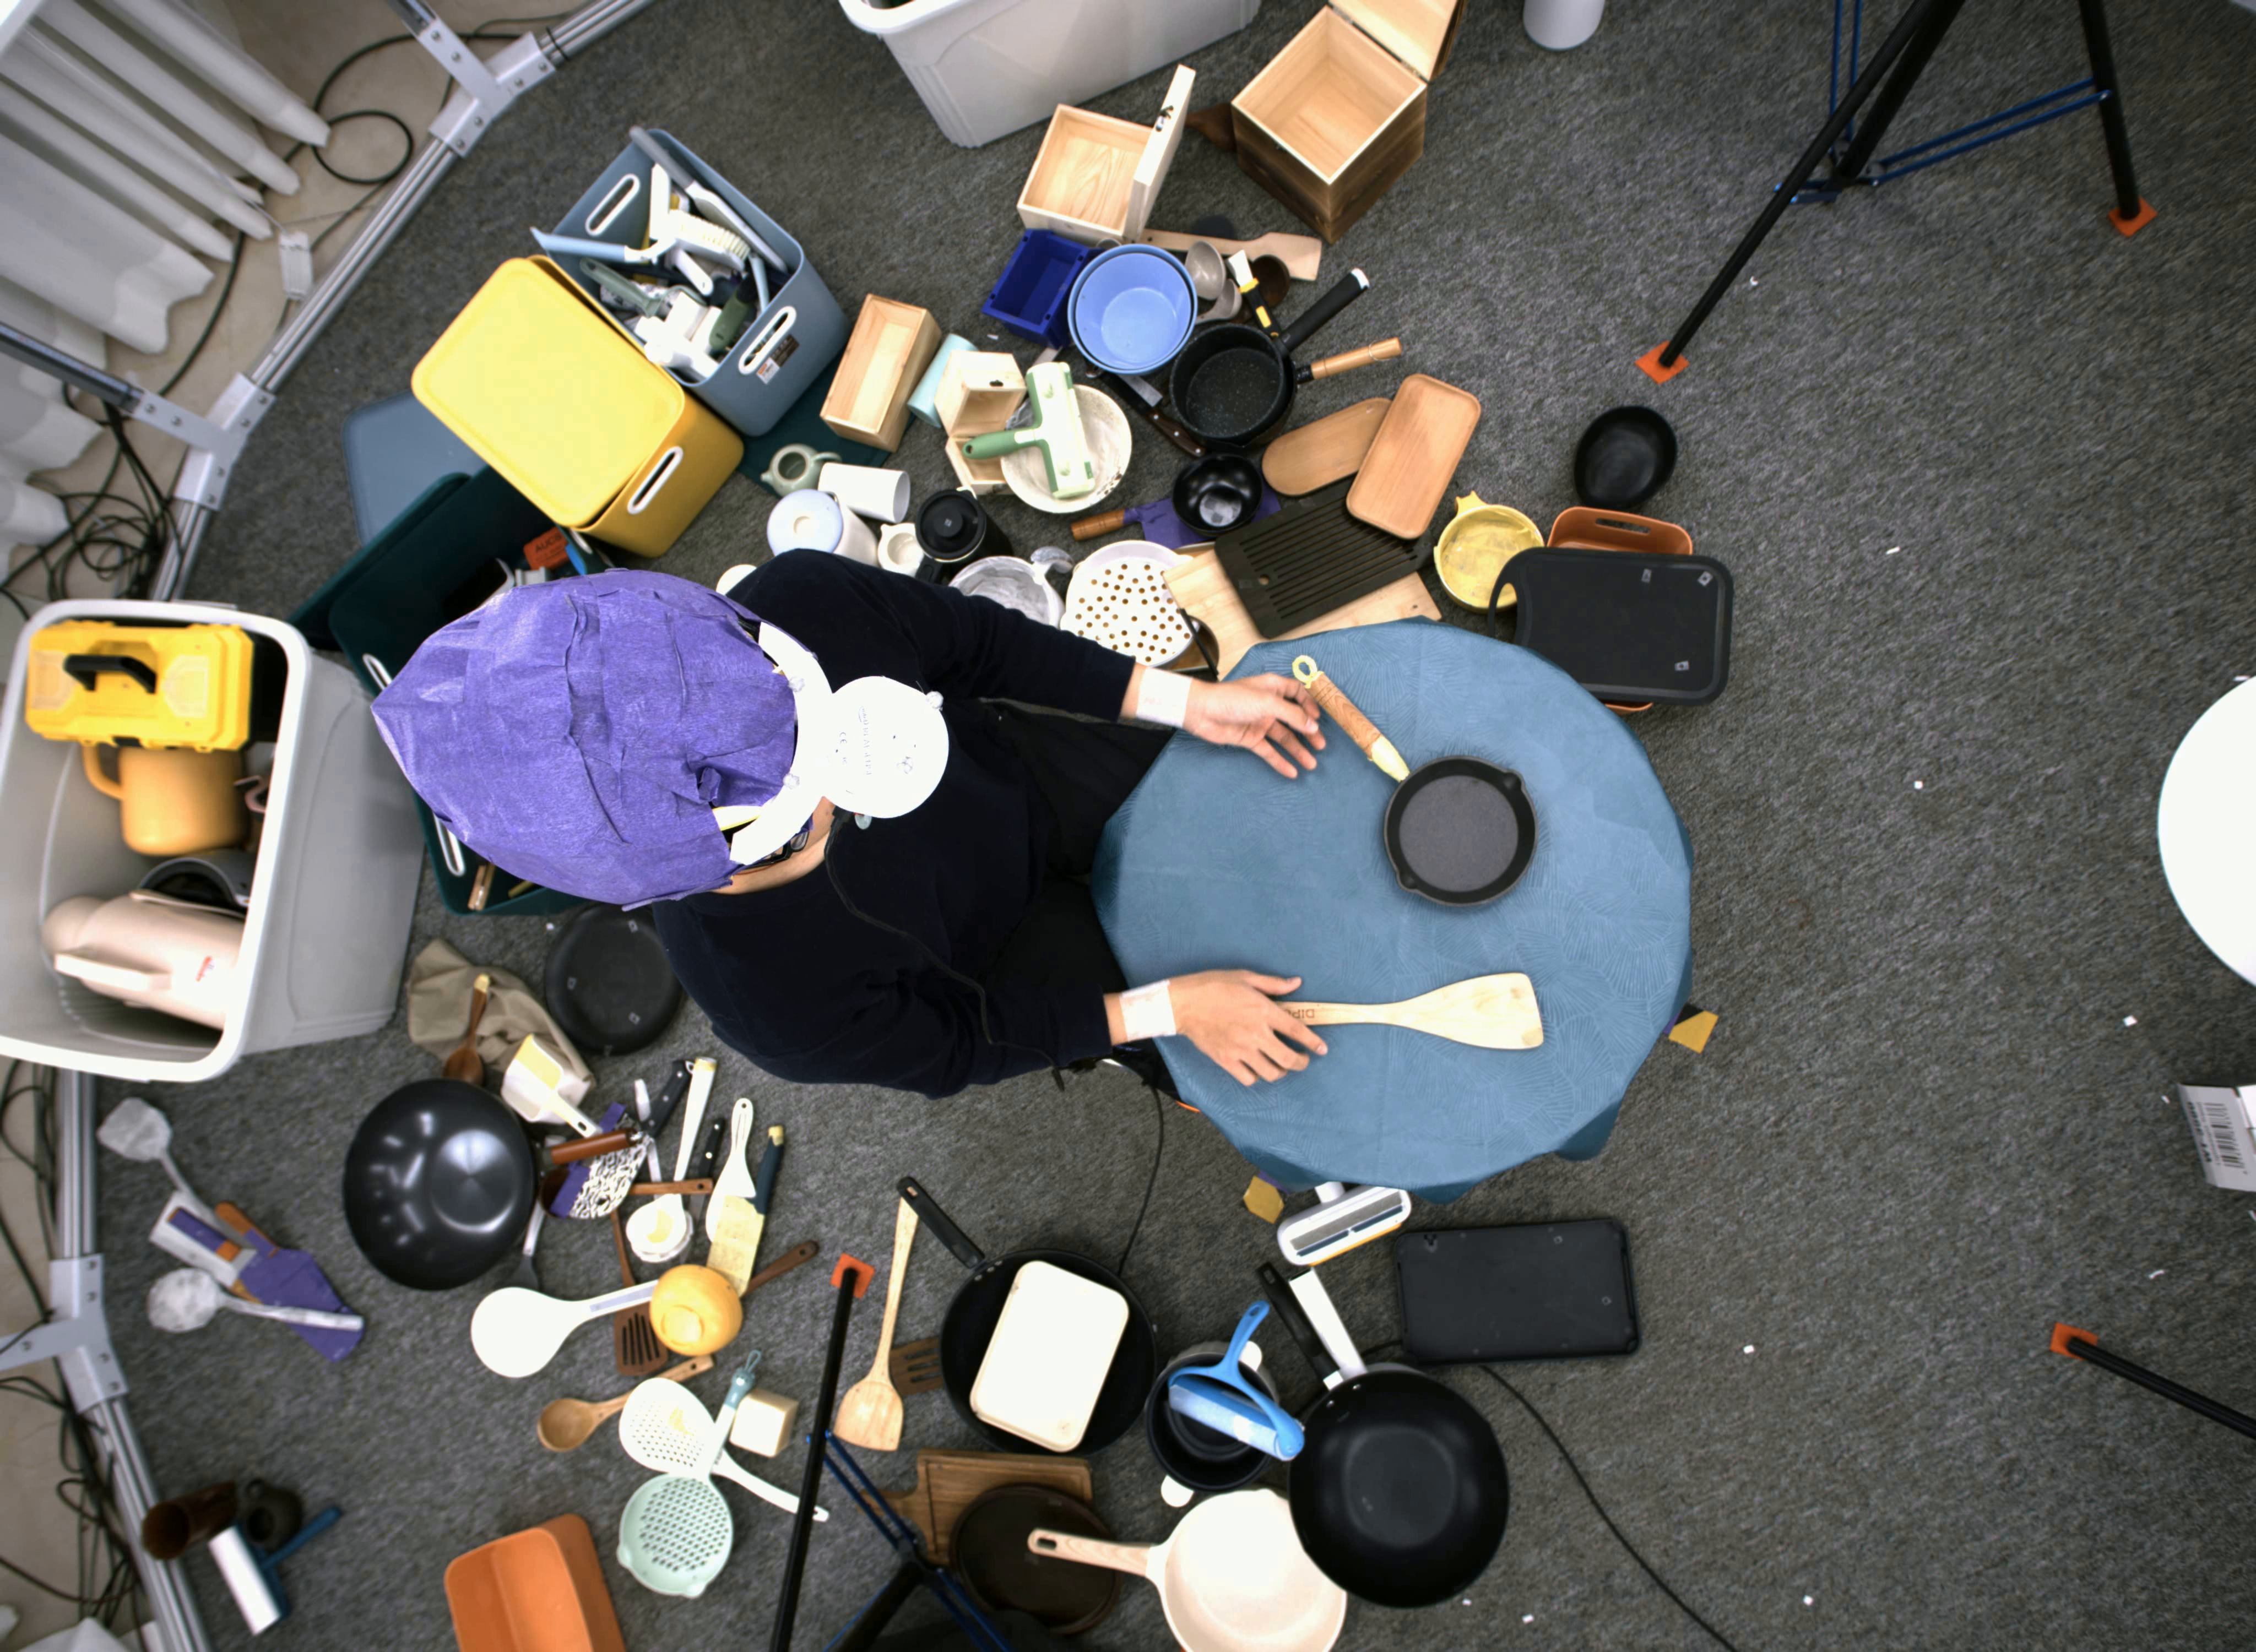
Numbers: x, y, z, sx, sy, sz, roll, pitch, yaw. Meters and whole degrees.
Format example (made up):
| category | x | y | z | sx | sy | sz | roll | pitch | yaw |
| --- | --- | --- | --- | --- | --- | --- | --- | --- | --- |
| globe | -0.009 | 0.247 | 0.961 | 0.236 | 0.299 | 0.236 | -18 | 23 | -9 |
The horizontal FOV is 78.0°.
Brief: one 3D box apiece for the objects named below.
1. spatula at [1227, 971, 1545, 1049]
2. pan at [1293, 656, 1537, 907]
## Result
| category | x | y | z | sx | sy | sz | roll | pitch | yaw |
| --- | --- | --- | --- | --- | --- | --- | --- | --- | --- |
| spatula | 0.266 | 0.193 | 1.446 | 0.329 | 0.016 | 0.079 | -2 | 86 | 10 |
| pan | 0.289 | -0.058 | 1.438 | 0.170 | 0.049 | 0.323 | -42 | 82 | 6 |
